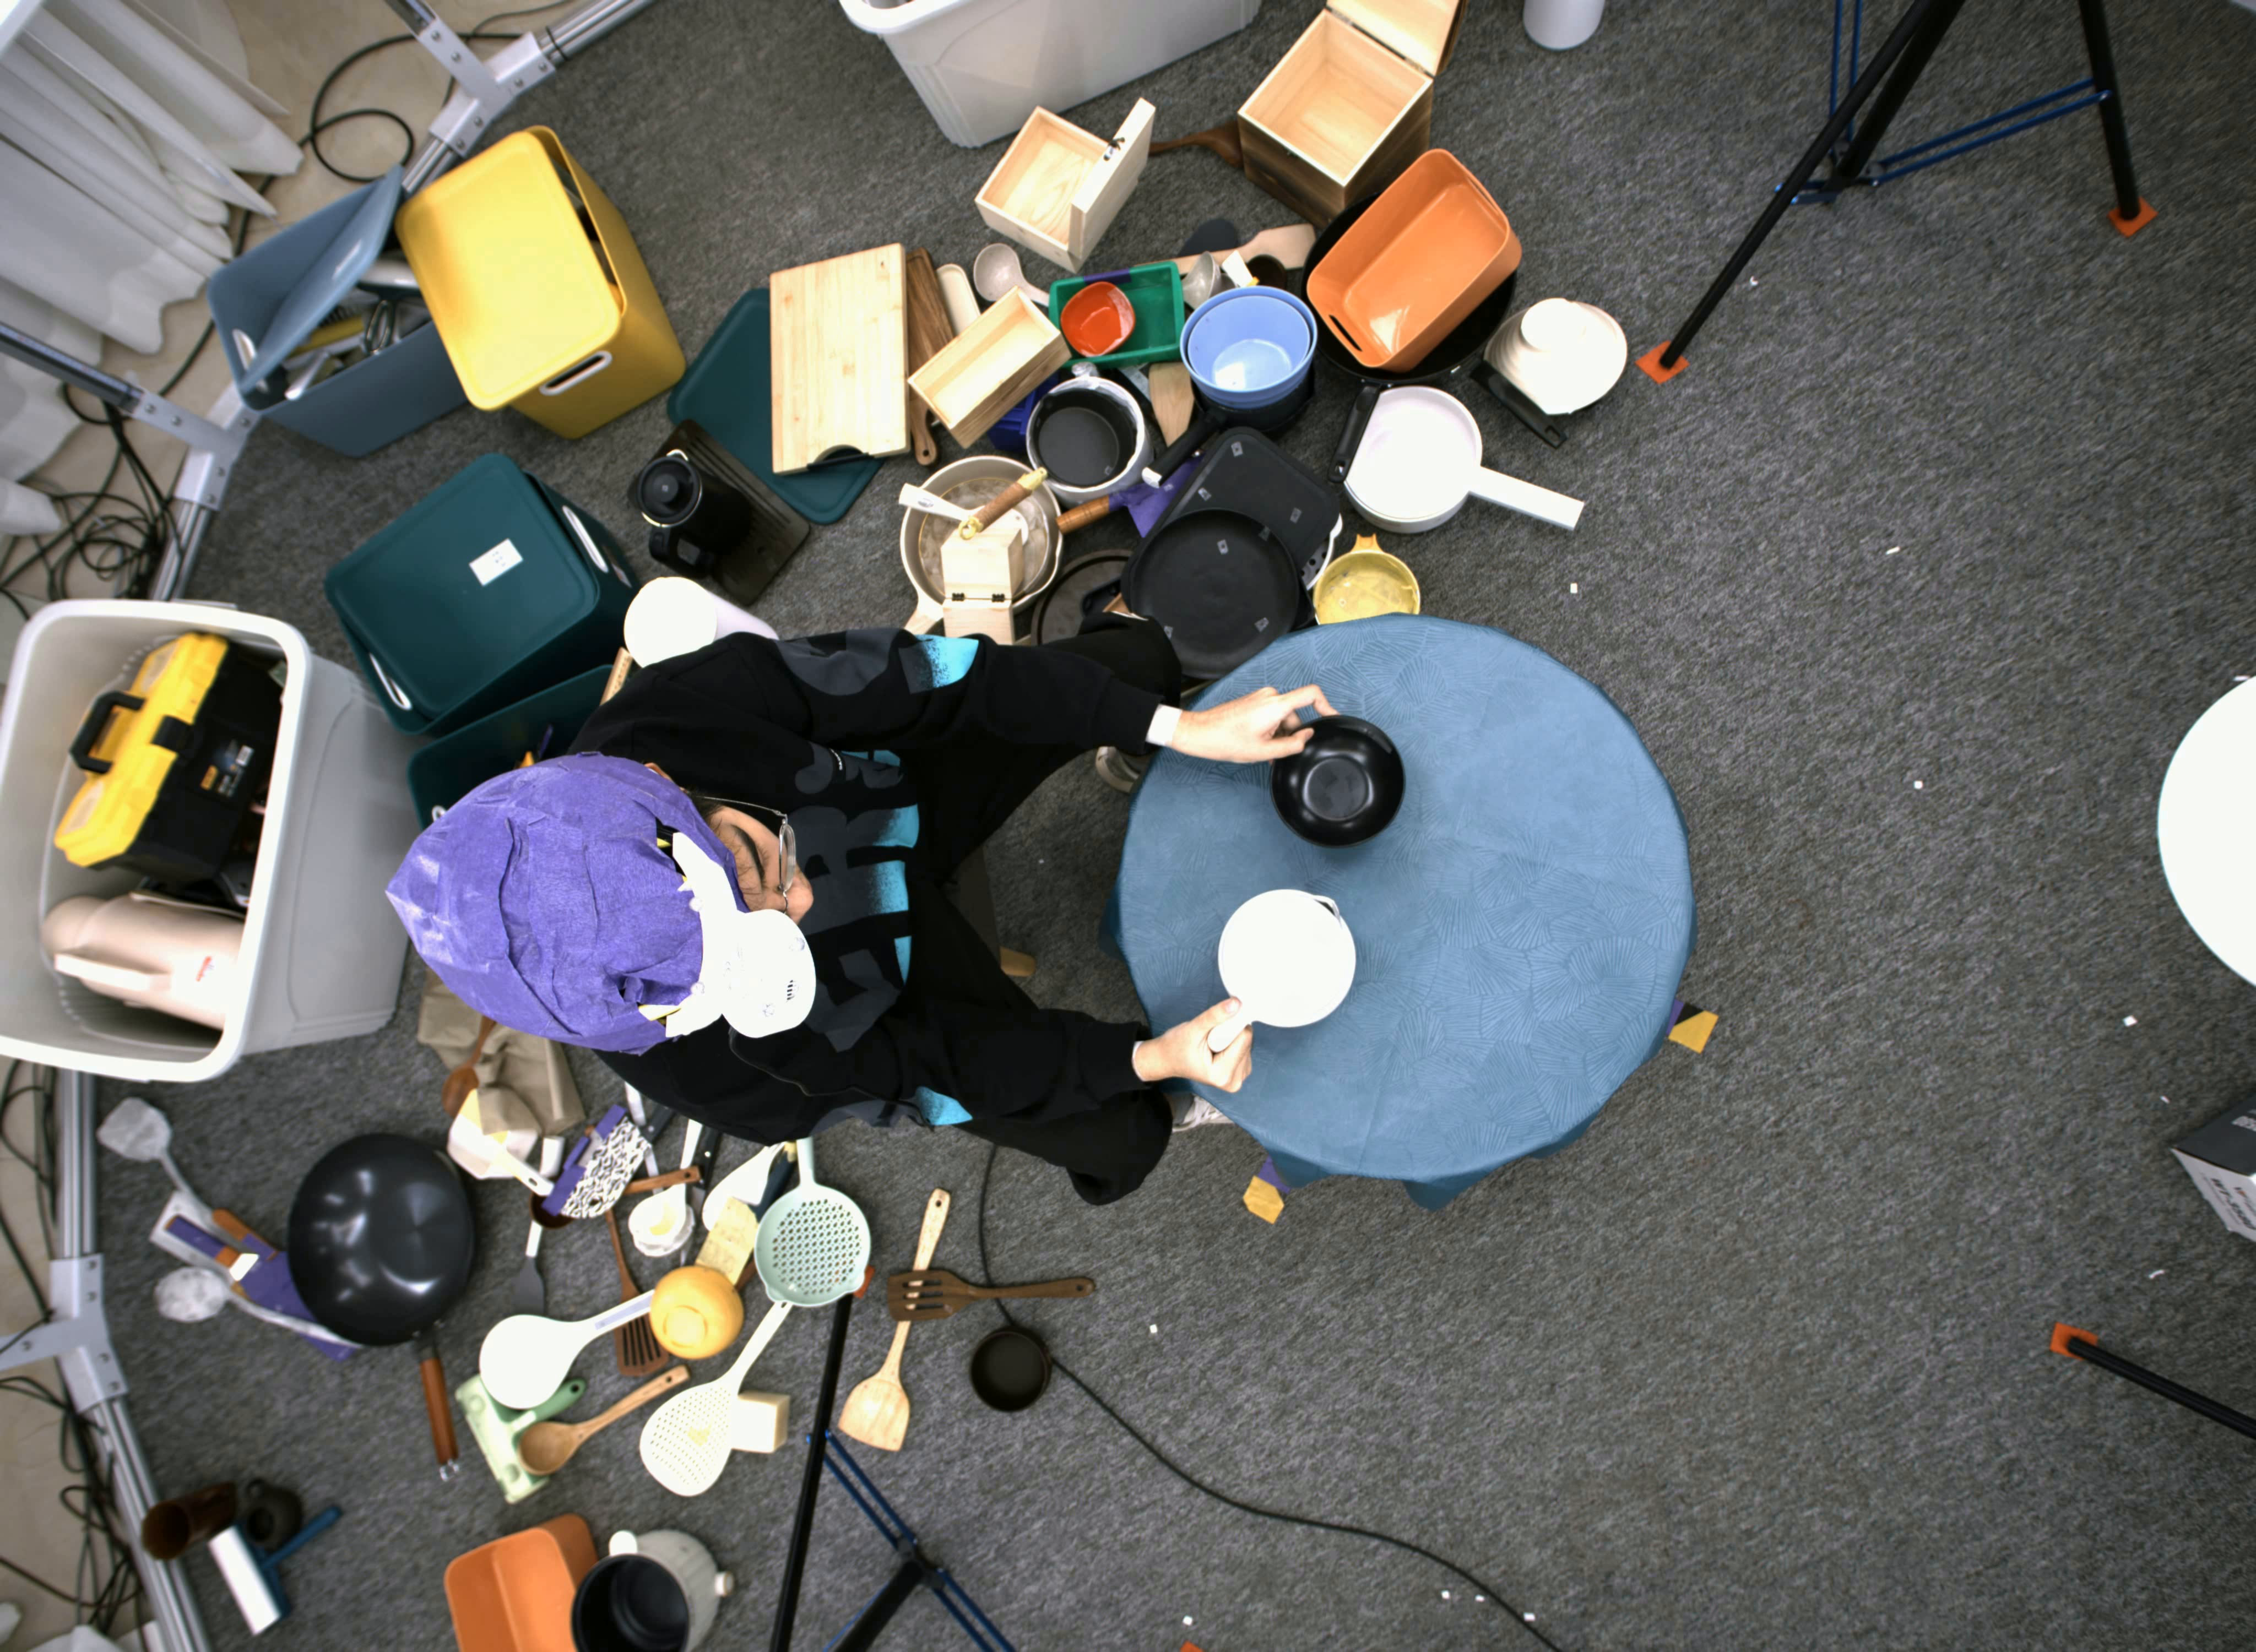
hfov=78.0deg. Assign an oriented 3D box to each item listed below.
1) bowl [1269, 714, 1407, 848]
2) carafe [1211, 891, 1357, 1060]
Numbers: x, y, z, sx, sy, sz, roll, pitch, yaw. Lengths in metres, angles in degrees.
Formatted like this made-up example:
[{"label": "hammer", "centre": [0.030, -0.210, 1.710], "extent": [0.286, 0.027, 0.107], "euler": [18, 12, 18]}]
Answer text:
[{"label": "bowl", "centre": [0.216, -0.044, 1.420], "extent": [0.140, 0.050, 0.139], "euler": [-1, 85, 11]}, {"label": "carafe", "centre": [0.144, 0.151, 1.364], "extent": [0.132, 0.182, 0.192], "euler": [38, 93, 12]}]
